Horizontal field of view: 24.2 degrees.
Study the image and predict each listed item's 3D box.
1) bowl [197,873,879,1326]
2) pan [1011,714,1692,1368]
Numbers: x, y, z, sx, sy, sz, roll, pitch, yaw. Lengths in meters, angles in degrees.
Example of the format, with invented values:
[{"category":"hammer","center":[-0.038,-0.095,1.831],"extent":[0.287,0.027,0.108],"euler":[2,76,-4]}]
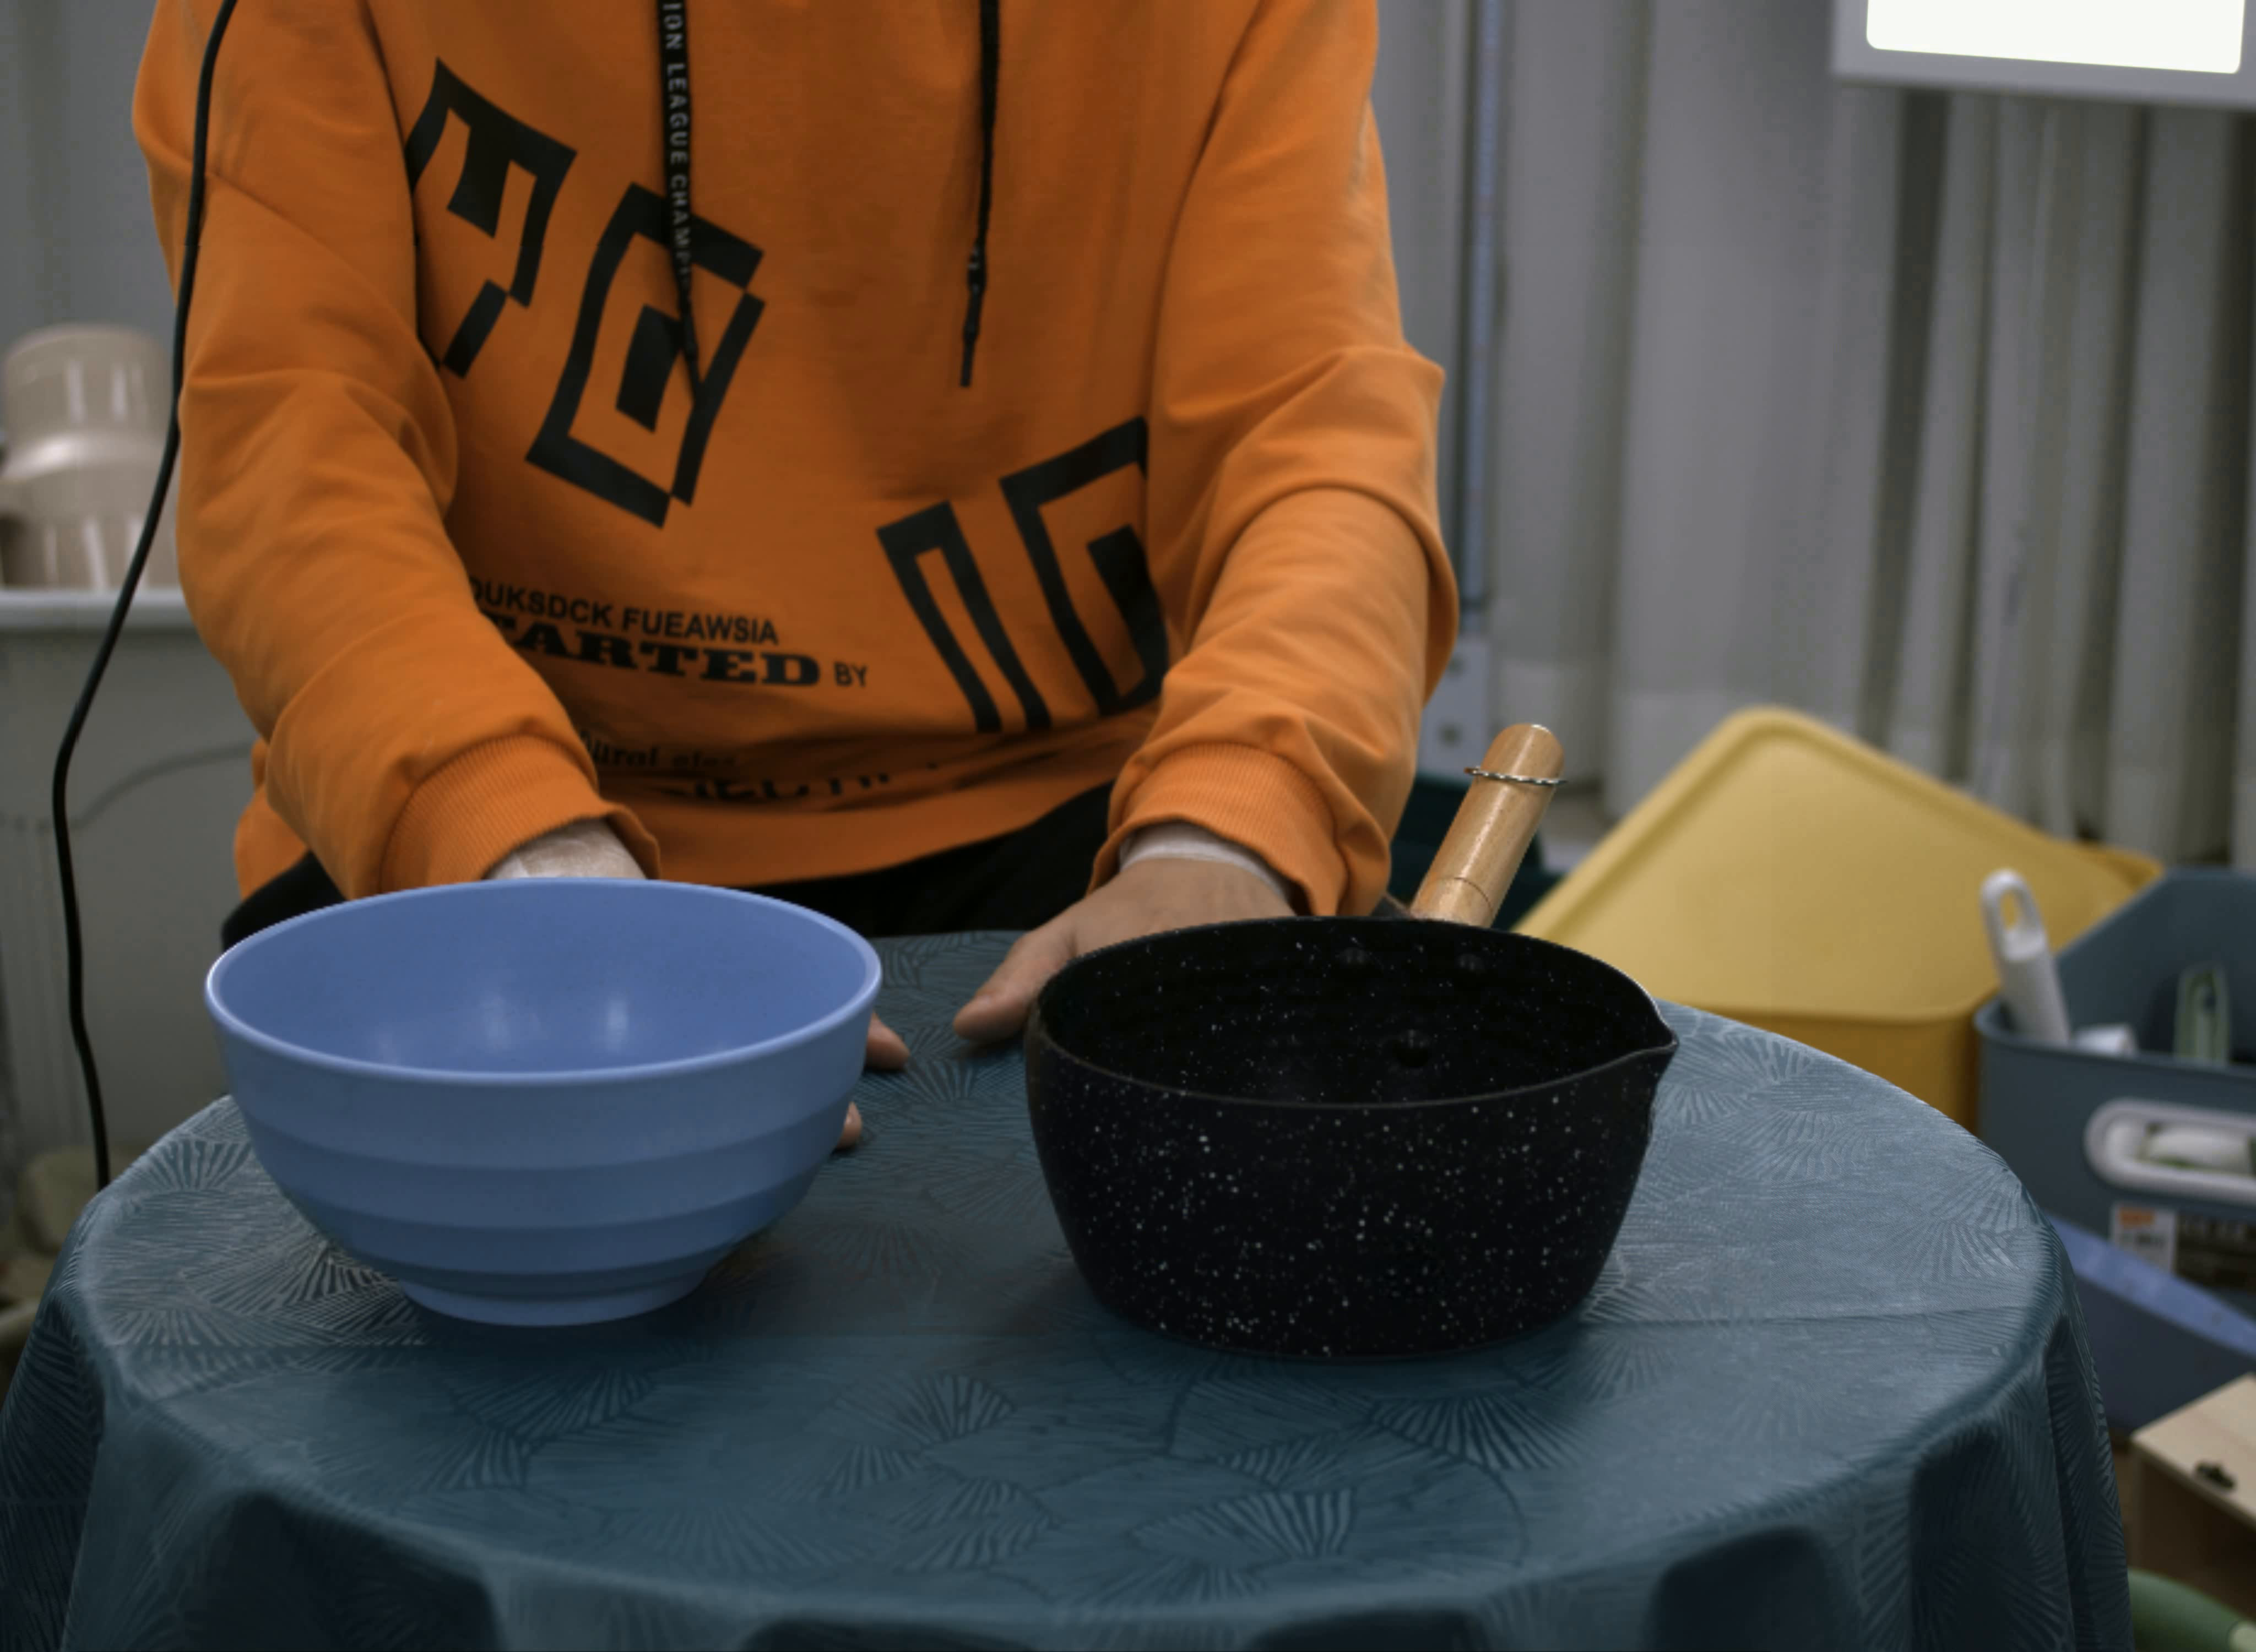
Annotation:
[{"category":"bowl","center":[-0.169,0.085,1.535],"extent":[0.196,0.096,0.195],"euler":[0,17,1]},{"category":"pan","center":[0.084,0.060,1.610],"extent":[0.206,0.109,0.342],"euler":[4,17,15]}]
